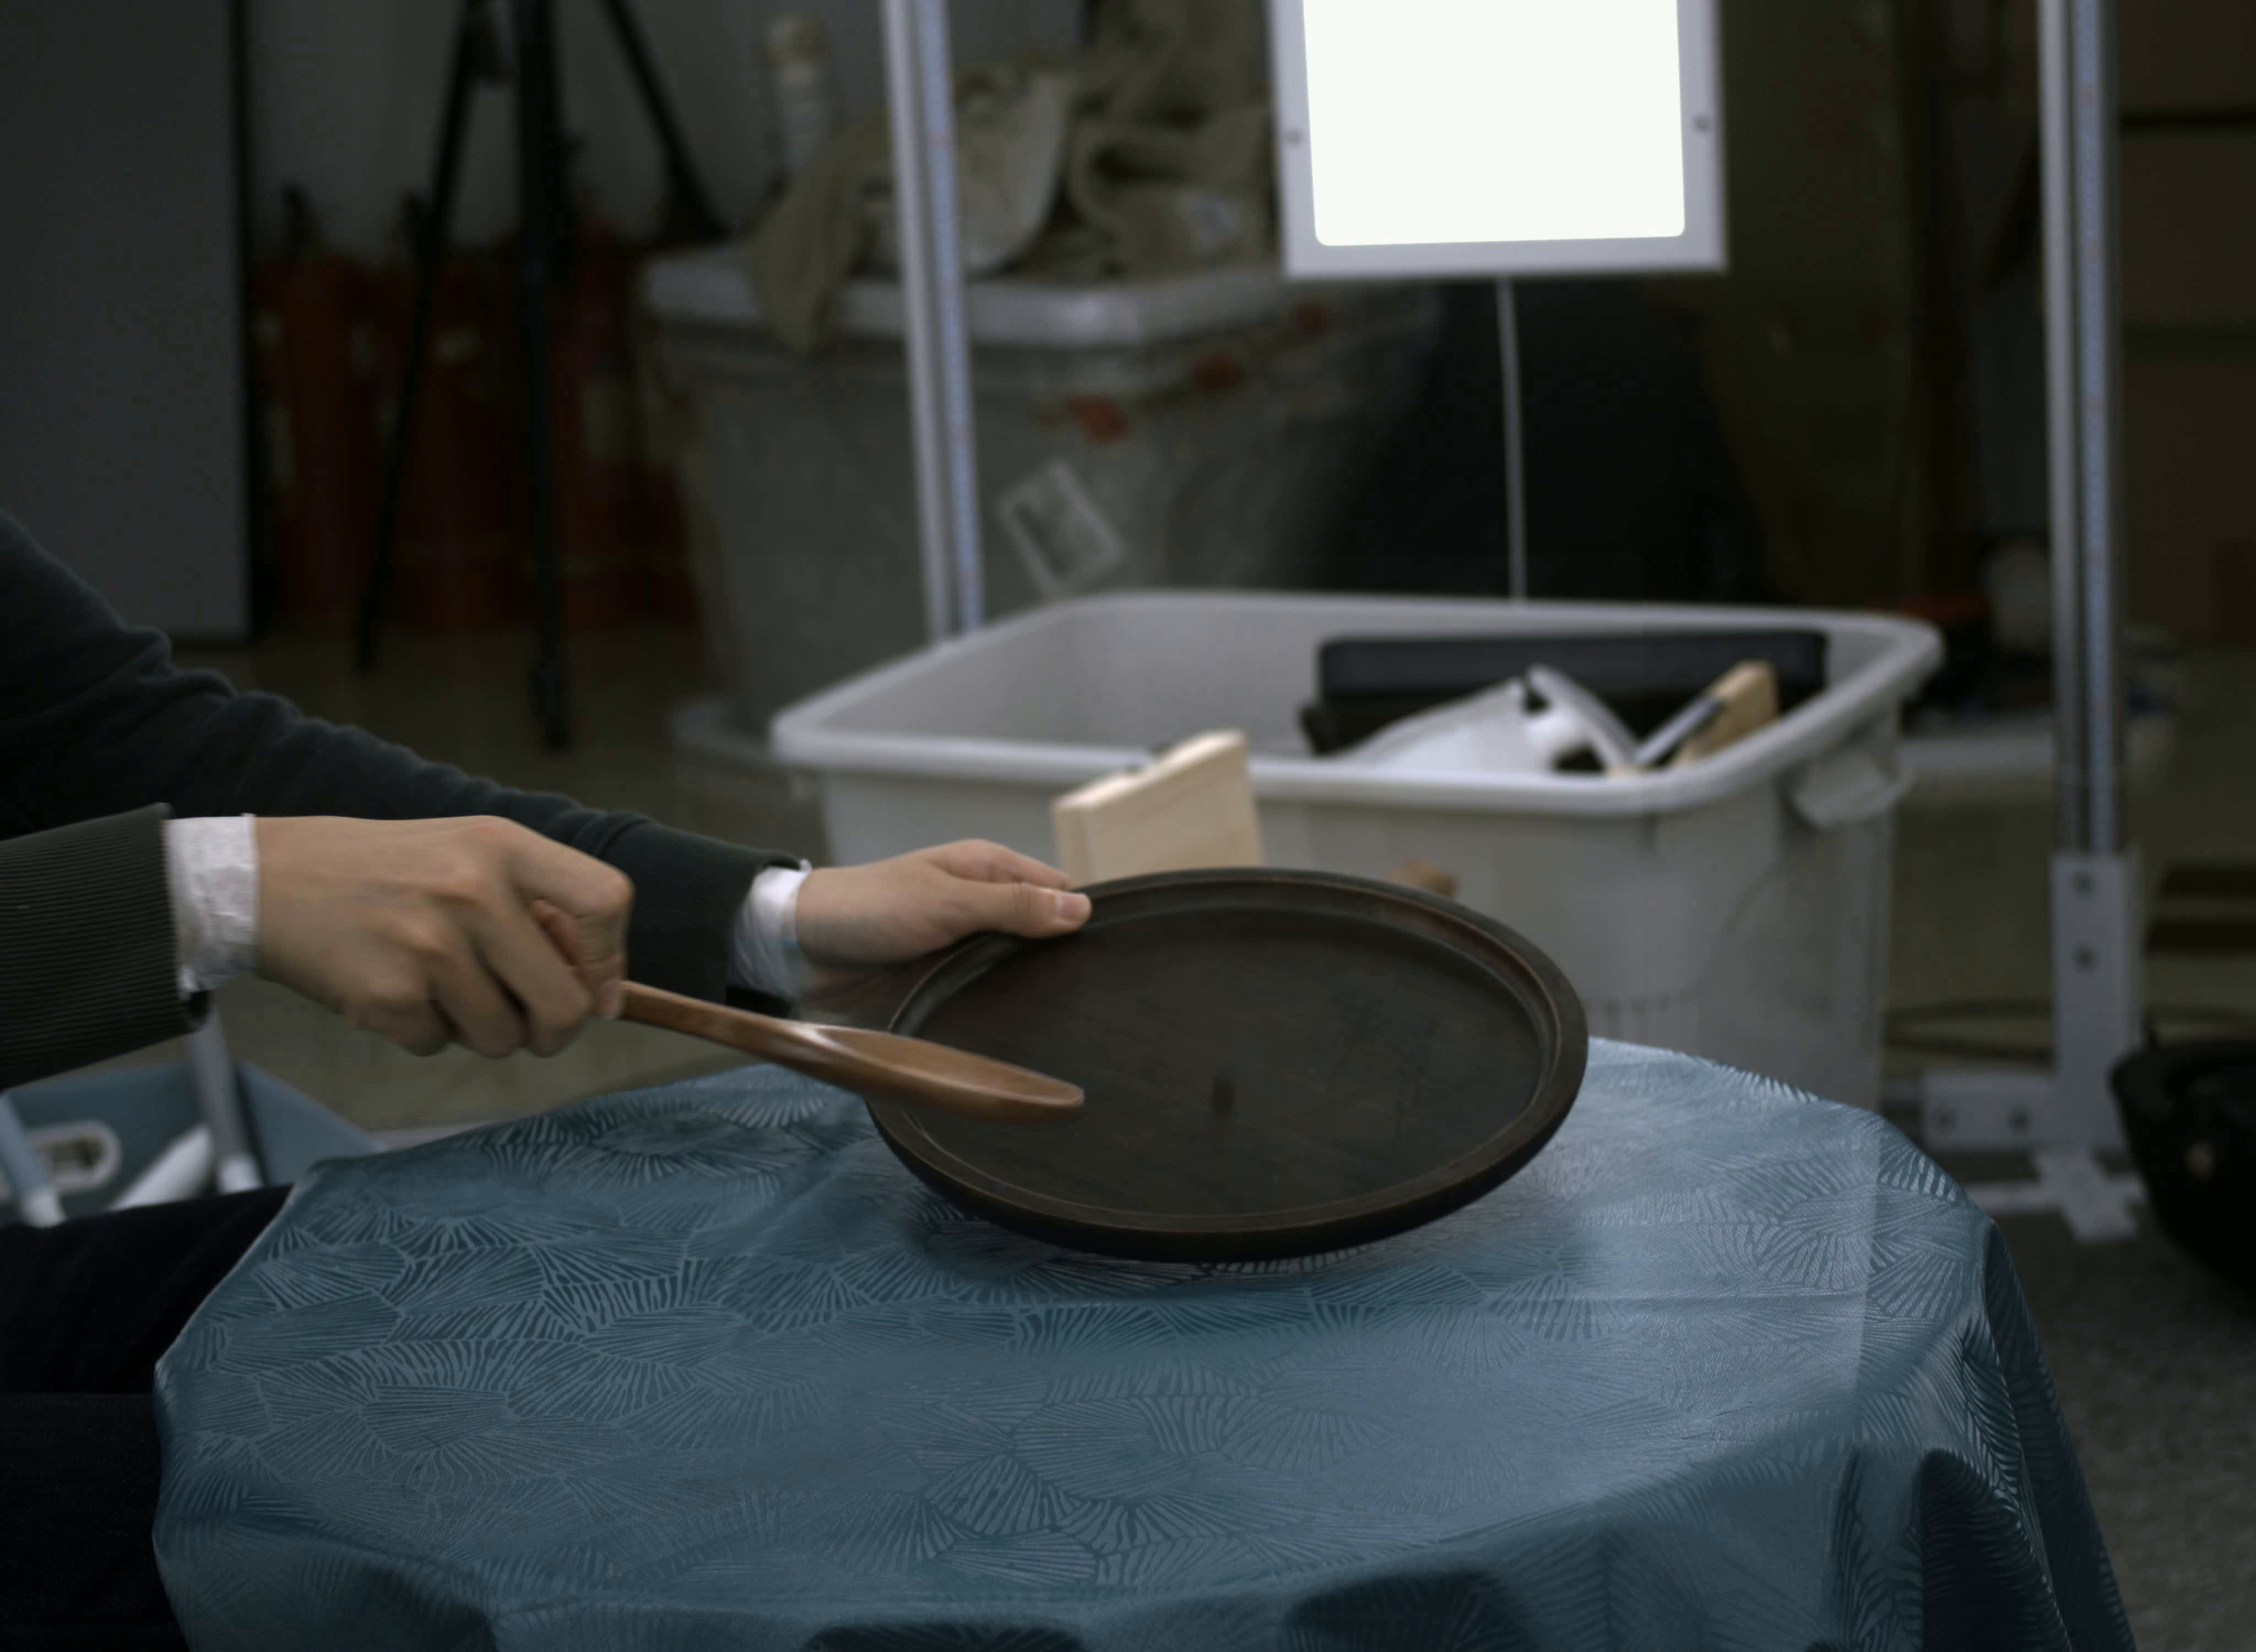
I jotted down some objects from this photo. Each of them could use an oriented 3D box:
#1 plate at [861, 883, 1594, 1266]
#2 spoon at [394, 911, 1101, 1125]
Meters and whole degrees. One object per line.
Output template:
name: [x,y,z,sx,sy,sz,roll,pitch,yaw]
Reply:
plate: [0.034,0.083,1.898,0.254,0.029,0.254,-3,26,0]
spoon: [-0.113,0.059,1.641,0.215,0.017,0.075,15,6,-2]
